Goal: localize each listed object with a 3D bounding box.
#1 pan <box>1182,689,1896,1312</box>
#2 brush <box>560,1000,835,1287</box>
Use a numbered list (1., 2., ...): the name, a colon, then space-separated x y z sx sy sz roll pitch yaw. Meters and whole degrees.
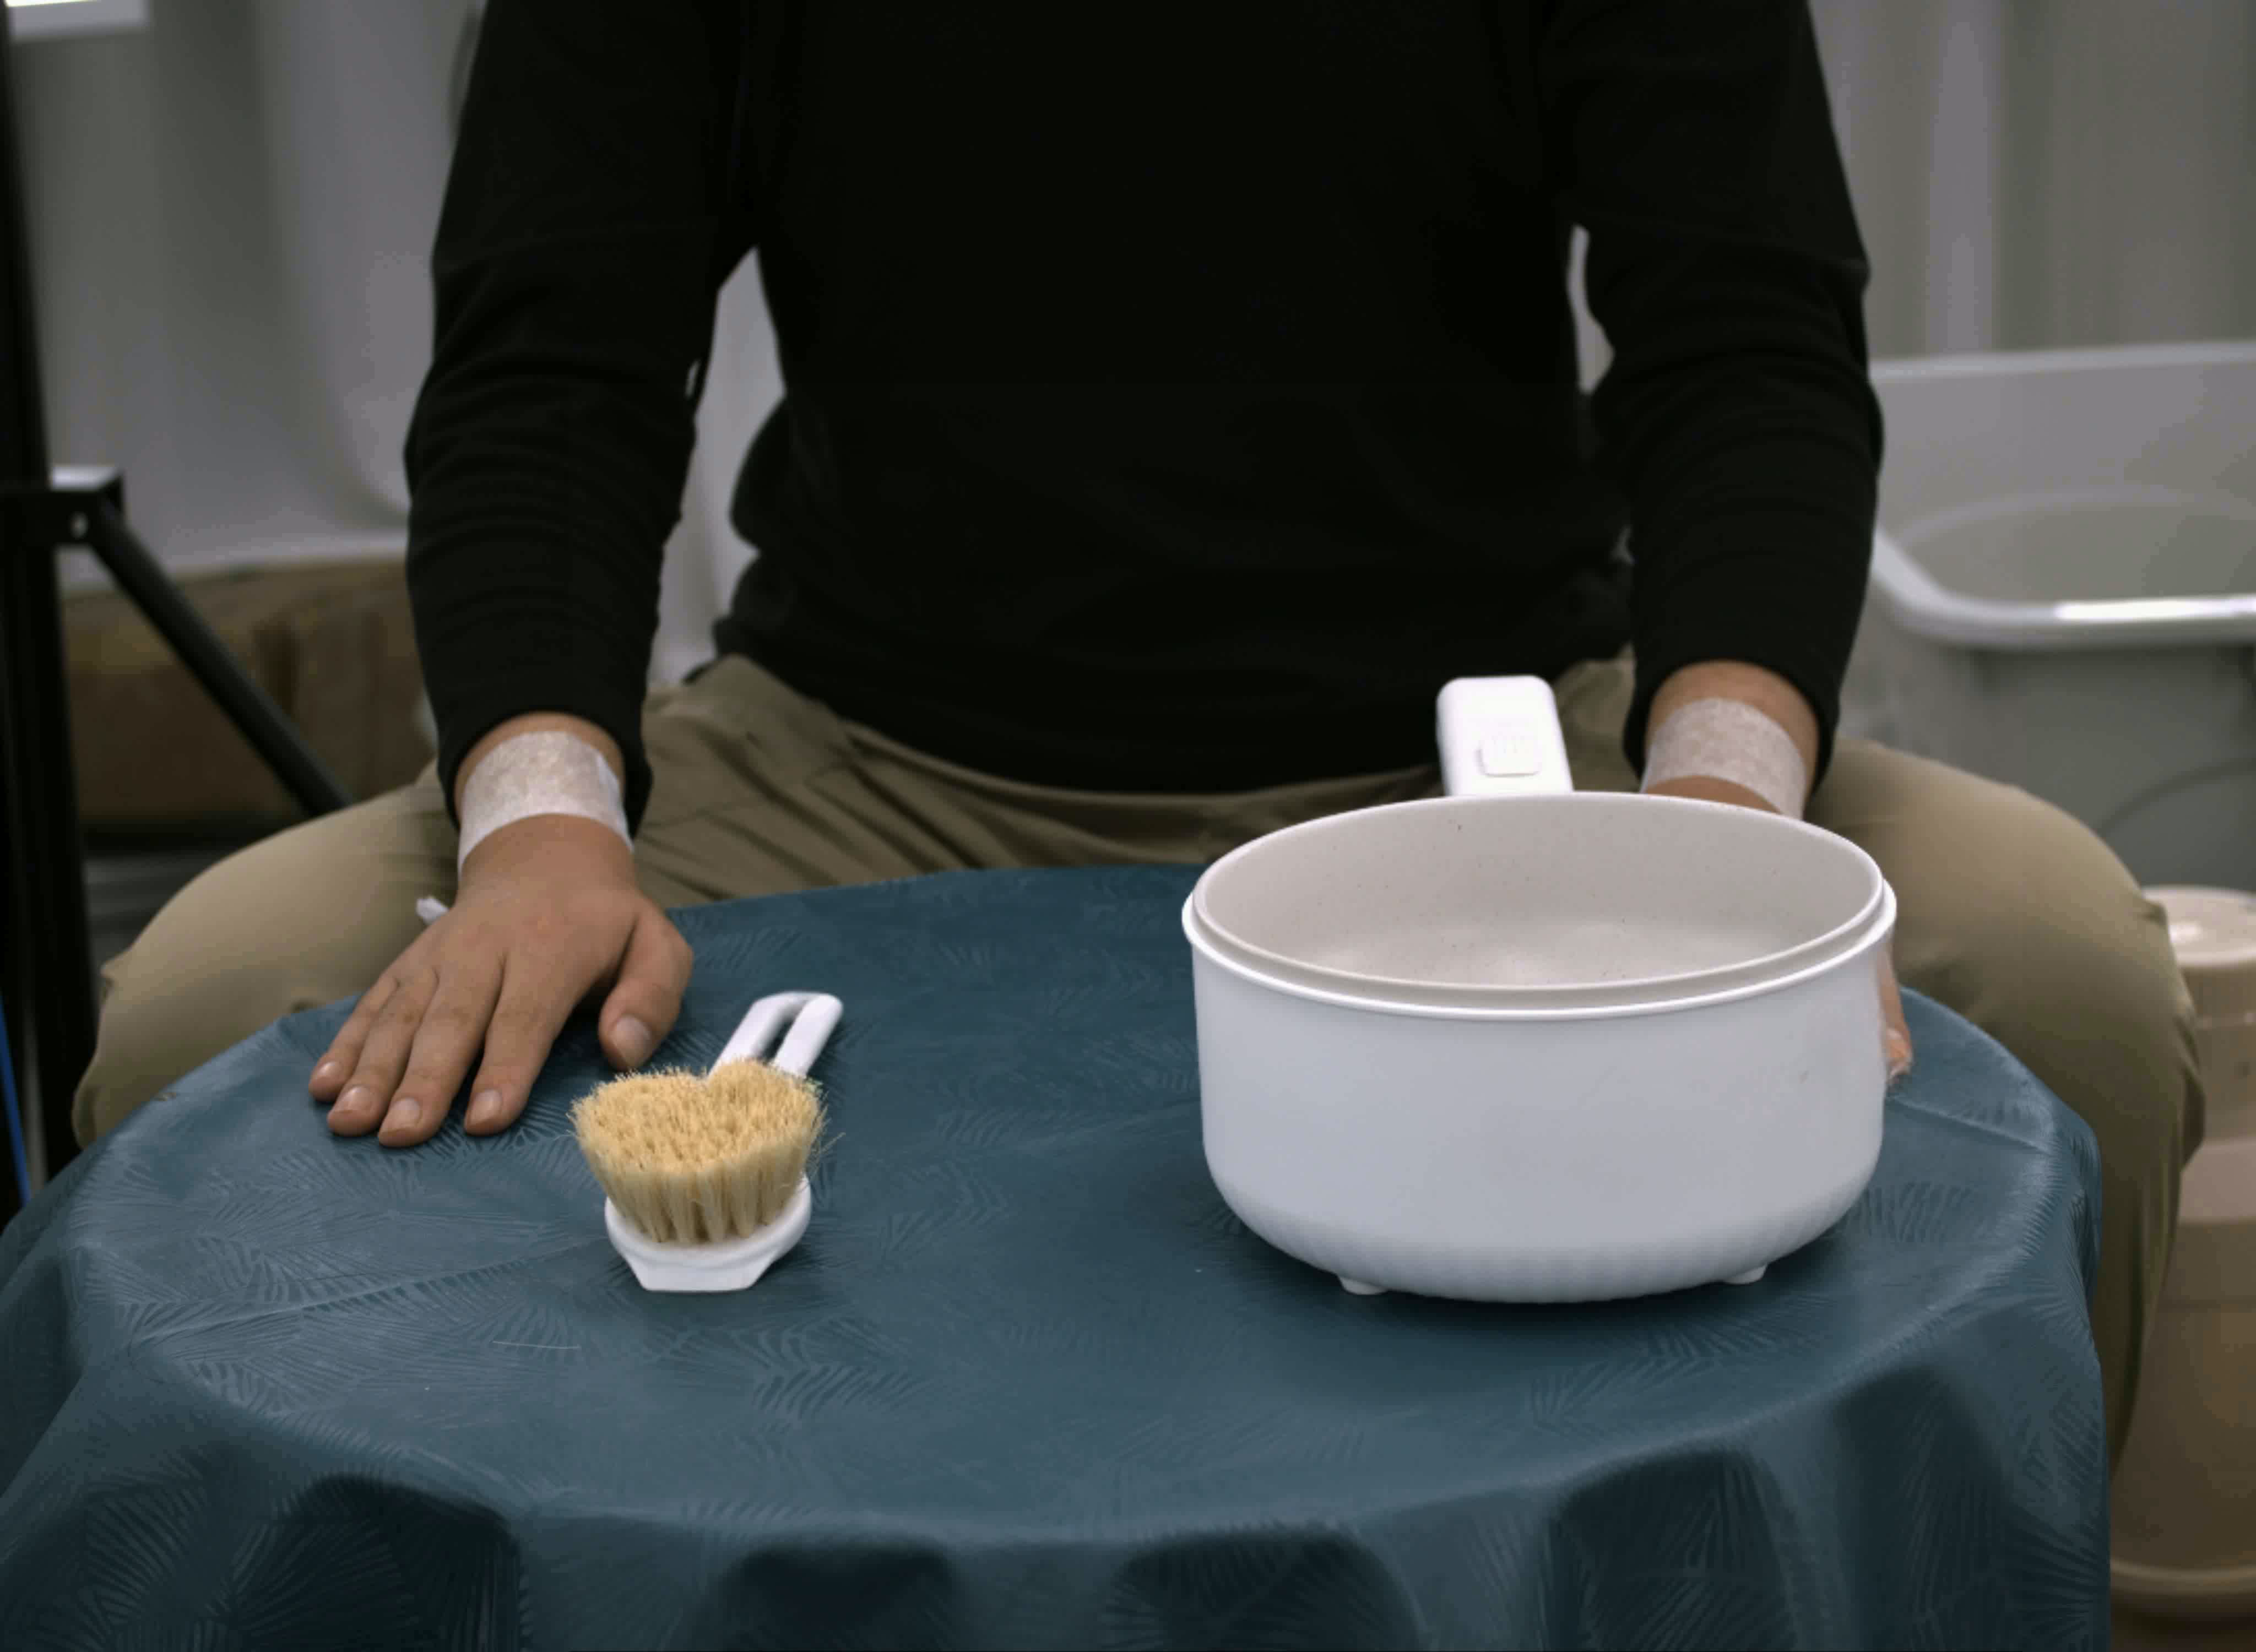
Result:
1. pan: 0.119 0.047 1.579 0.201 0.102 0.355 -3 15 3
2. brush: -0.120 0.071 1.611 0.068 0.056 0.266 3 15 4
